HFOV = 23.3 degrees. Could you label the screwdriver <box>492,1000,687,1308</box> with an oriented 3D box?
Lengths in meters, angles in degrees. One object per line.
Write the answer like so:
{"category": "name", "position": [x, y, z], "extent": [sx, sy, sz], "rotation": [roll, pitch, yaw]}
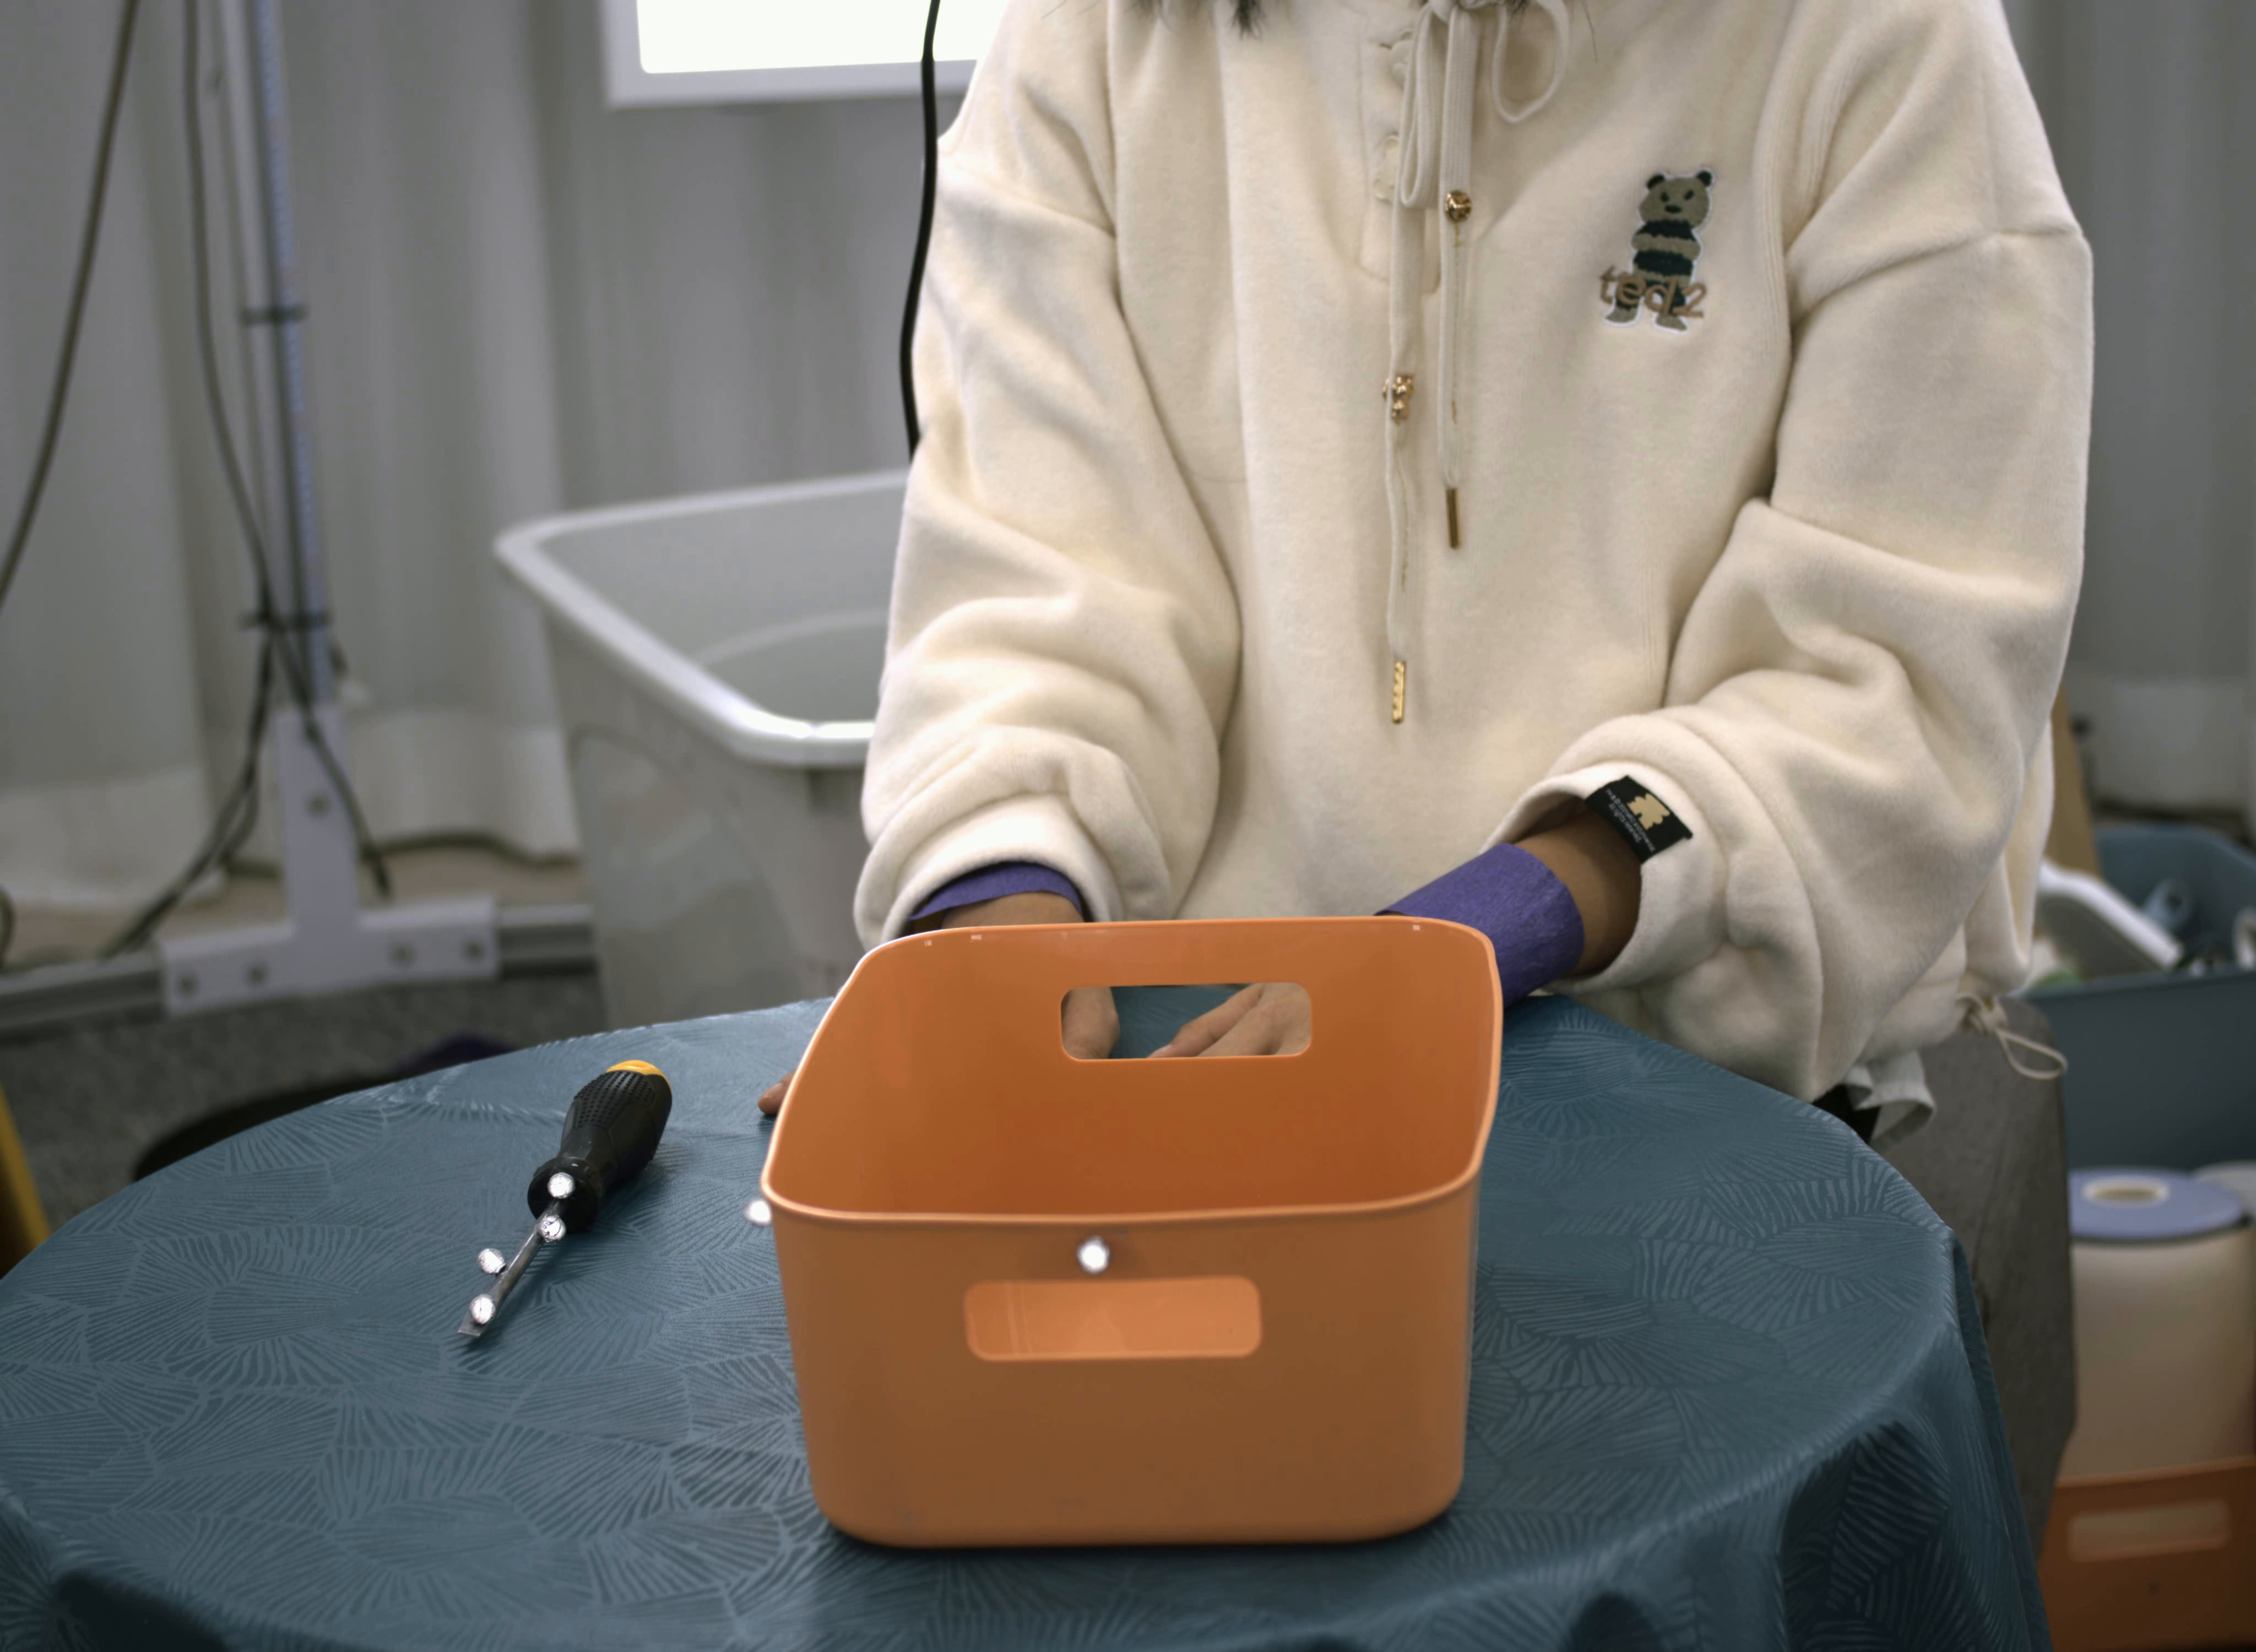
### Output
{"category": "screwdriver", "position": [-0.166, 0.104, 1.700], "extent": [0.031, 0.031, 0.200], "rotation": [-1, 24, 7]}

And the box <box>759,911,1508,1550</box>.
{"category": "box", "position": [0.009, 0.110, 1.527], "extent": [0.199, 0.102, 0.275], "rotation": [-2, 15, 5]}
